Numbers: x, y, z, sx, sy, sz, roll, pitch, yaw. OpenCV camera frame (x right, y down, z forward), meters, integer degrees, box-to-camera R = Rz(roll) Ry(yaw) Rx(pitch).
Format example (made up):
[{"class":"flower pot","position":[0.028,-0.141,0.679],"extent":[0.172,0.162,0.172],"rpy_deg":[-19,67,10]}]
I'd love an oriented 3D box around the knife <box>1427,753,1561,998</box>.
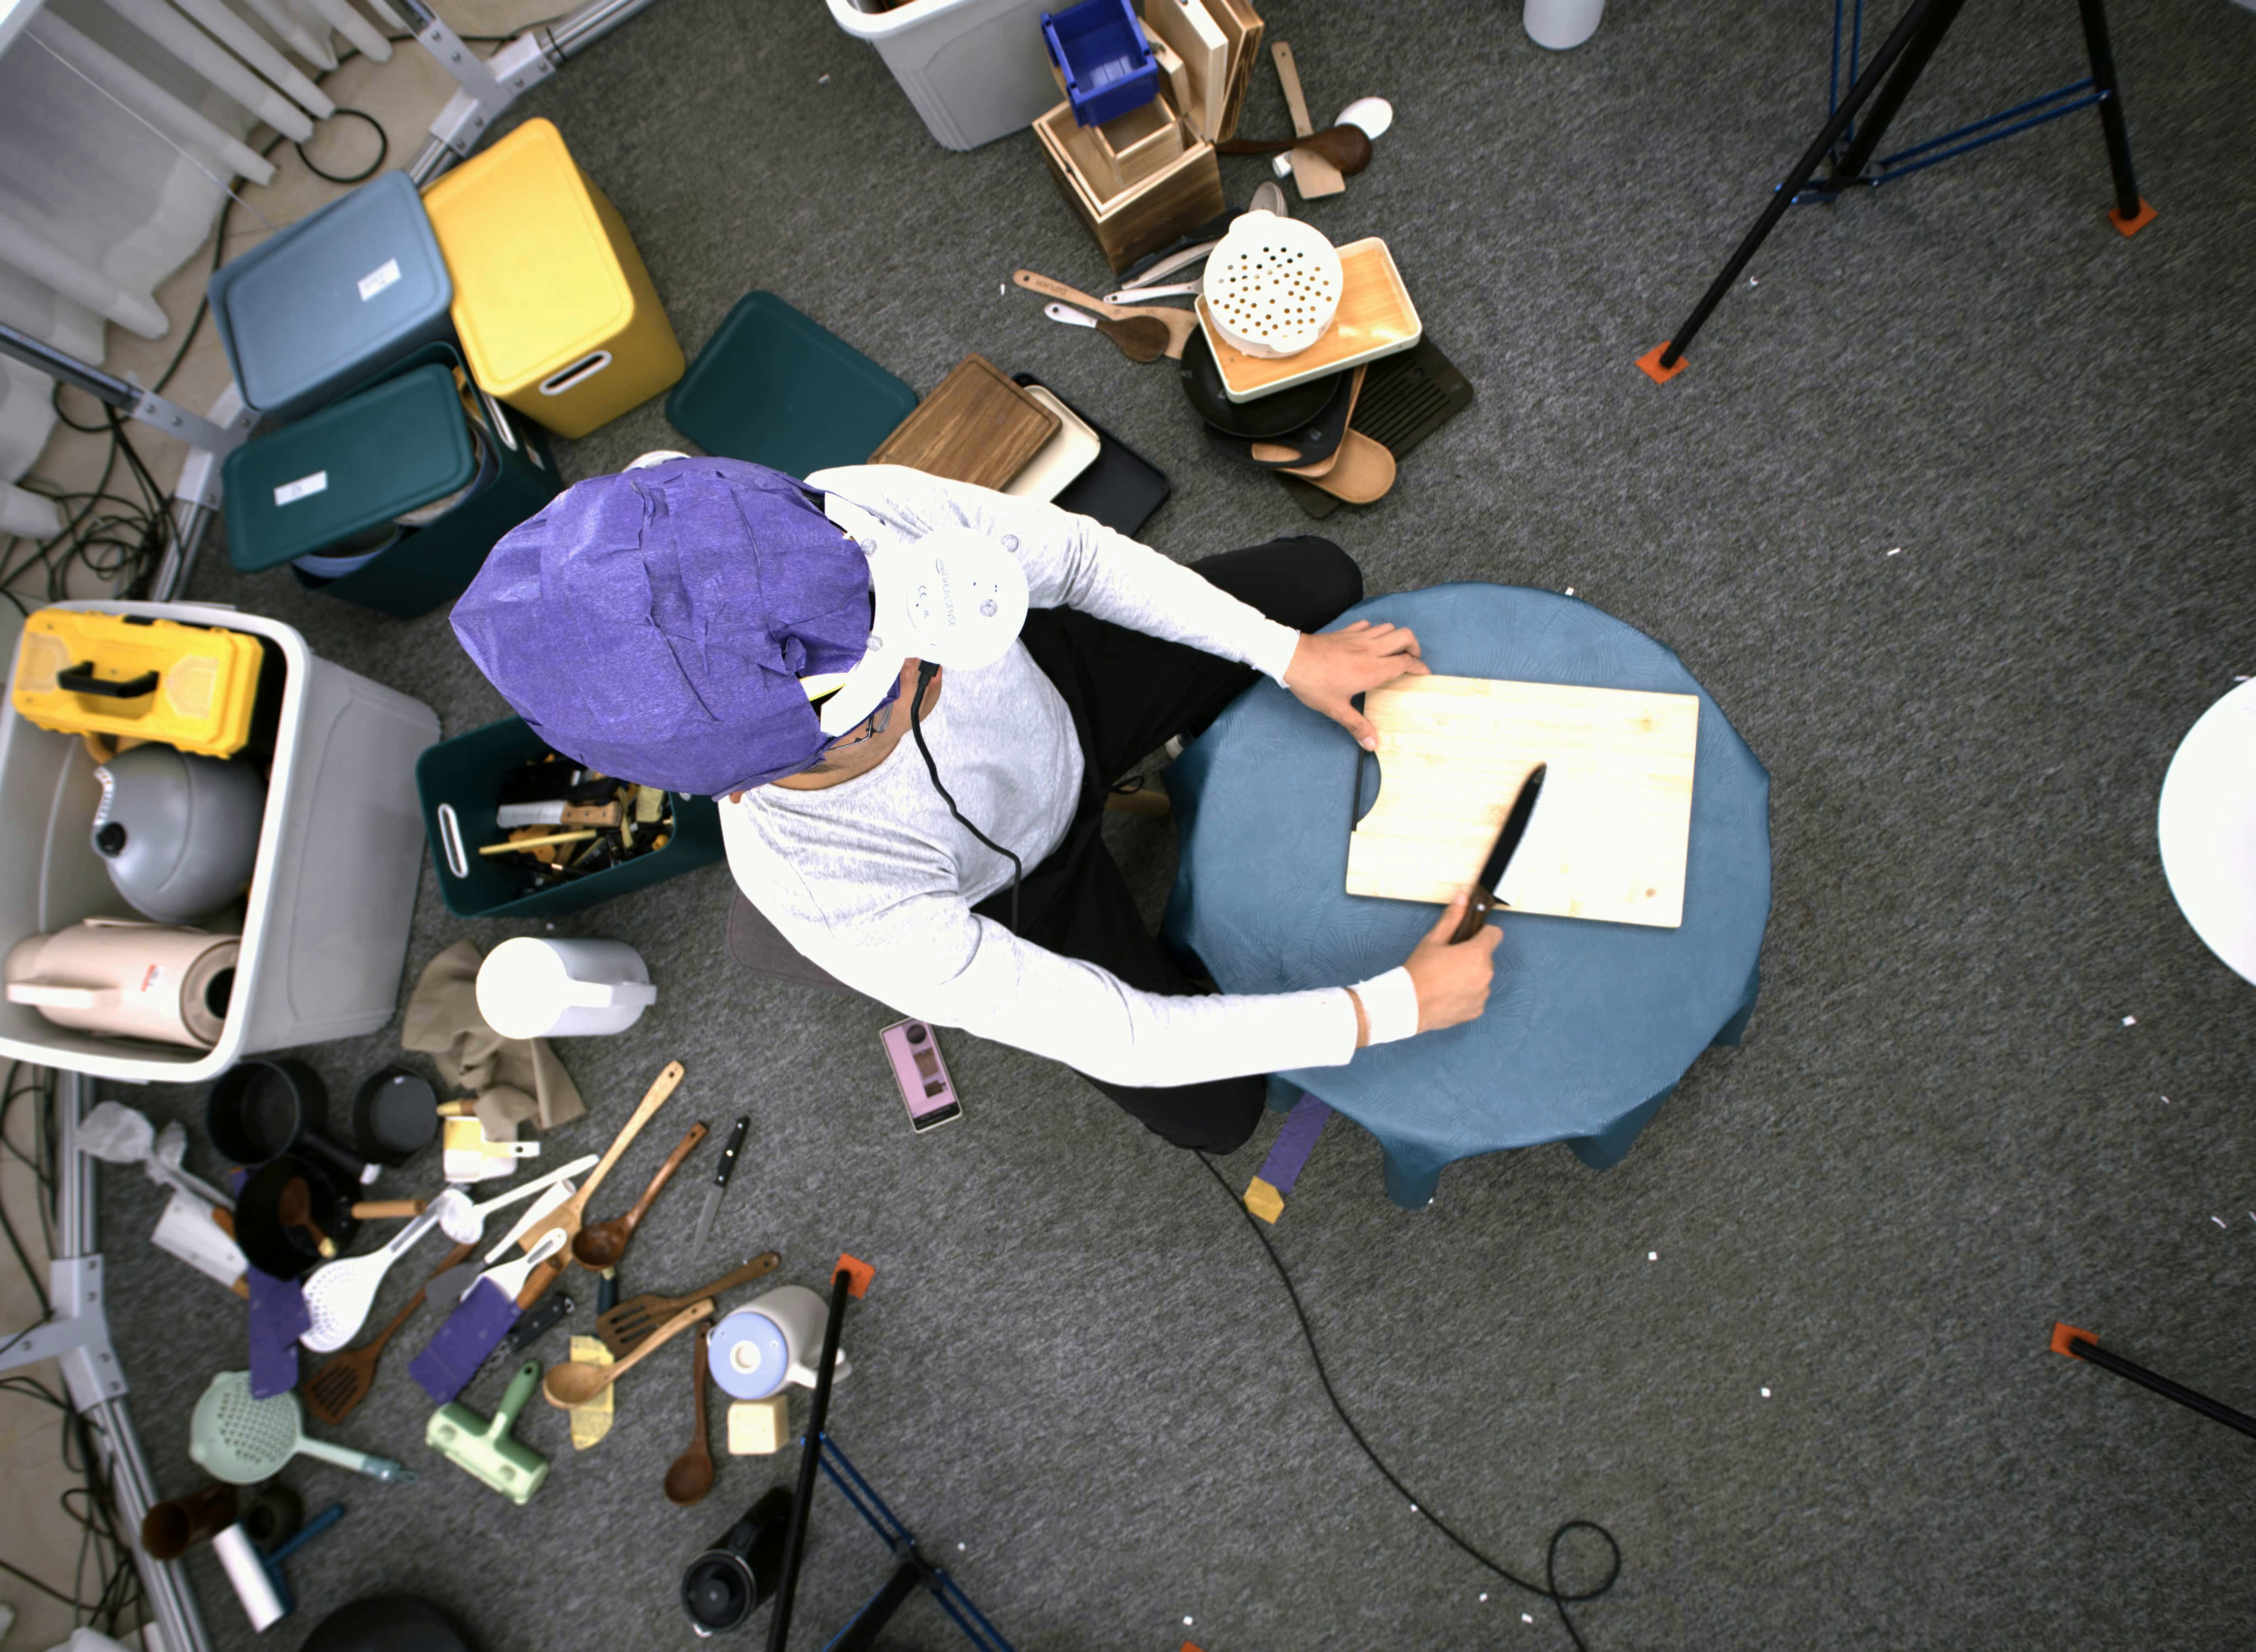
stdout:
[{"class":"knife","position":[0.376,0.047,1.405],"extent":[0.050,0.020,0.288],"rpy_deg":[29,86,-7]}]

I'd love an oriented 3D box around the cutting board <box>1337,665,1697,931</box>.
[{"class":"cutting board","position":[0.403,-0.034,1.433],"extent":[0.350,0.023,0.250],"rpy_deg":[5,87,11]}]
